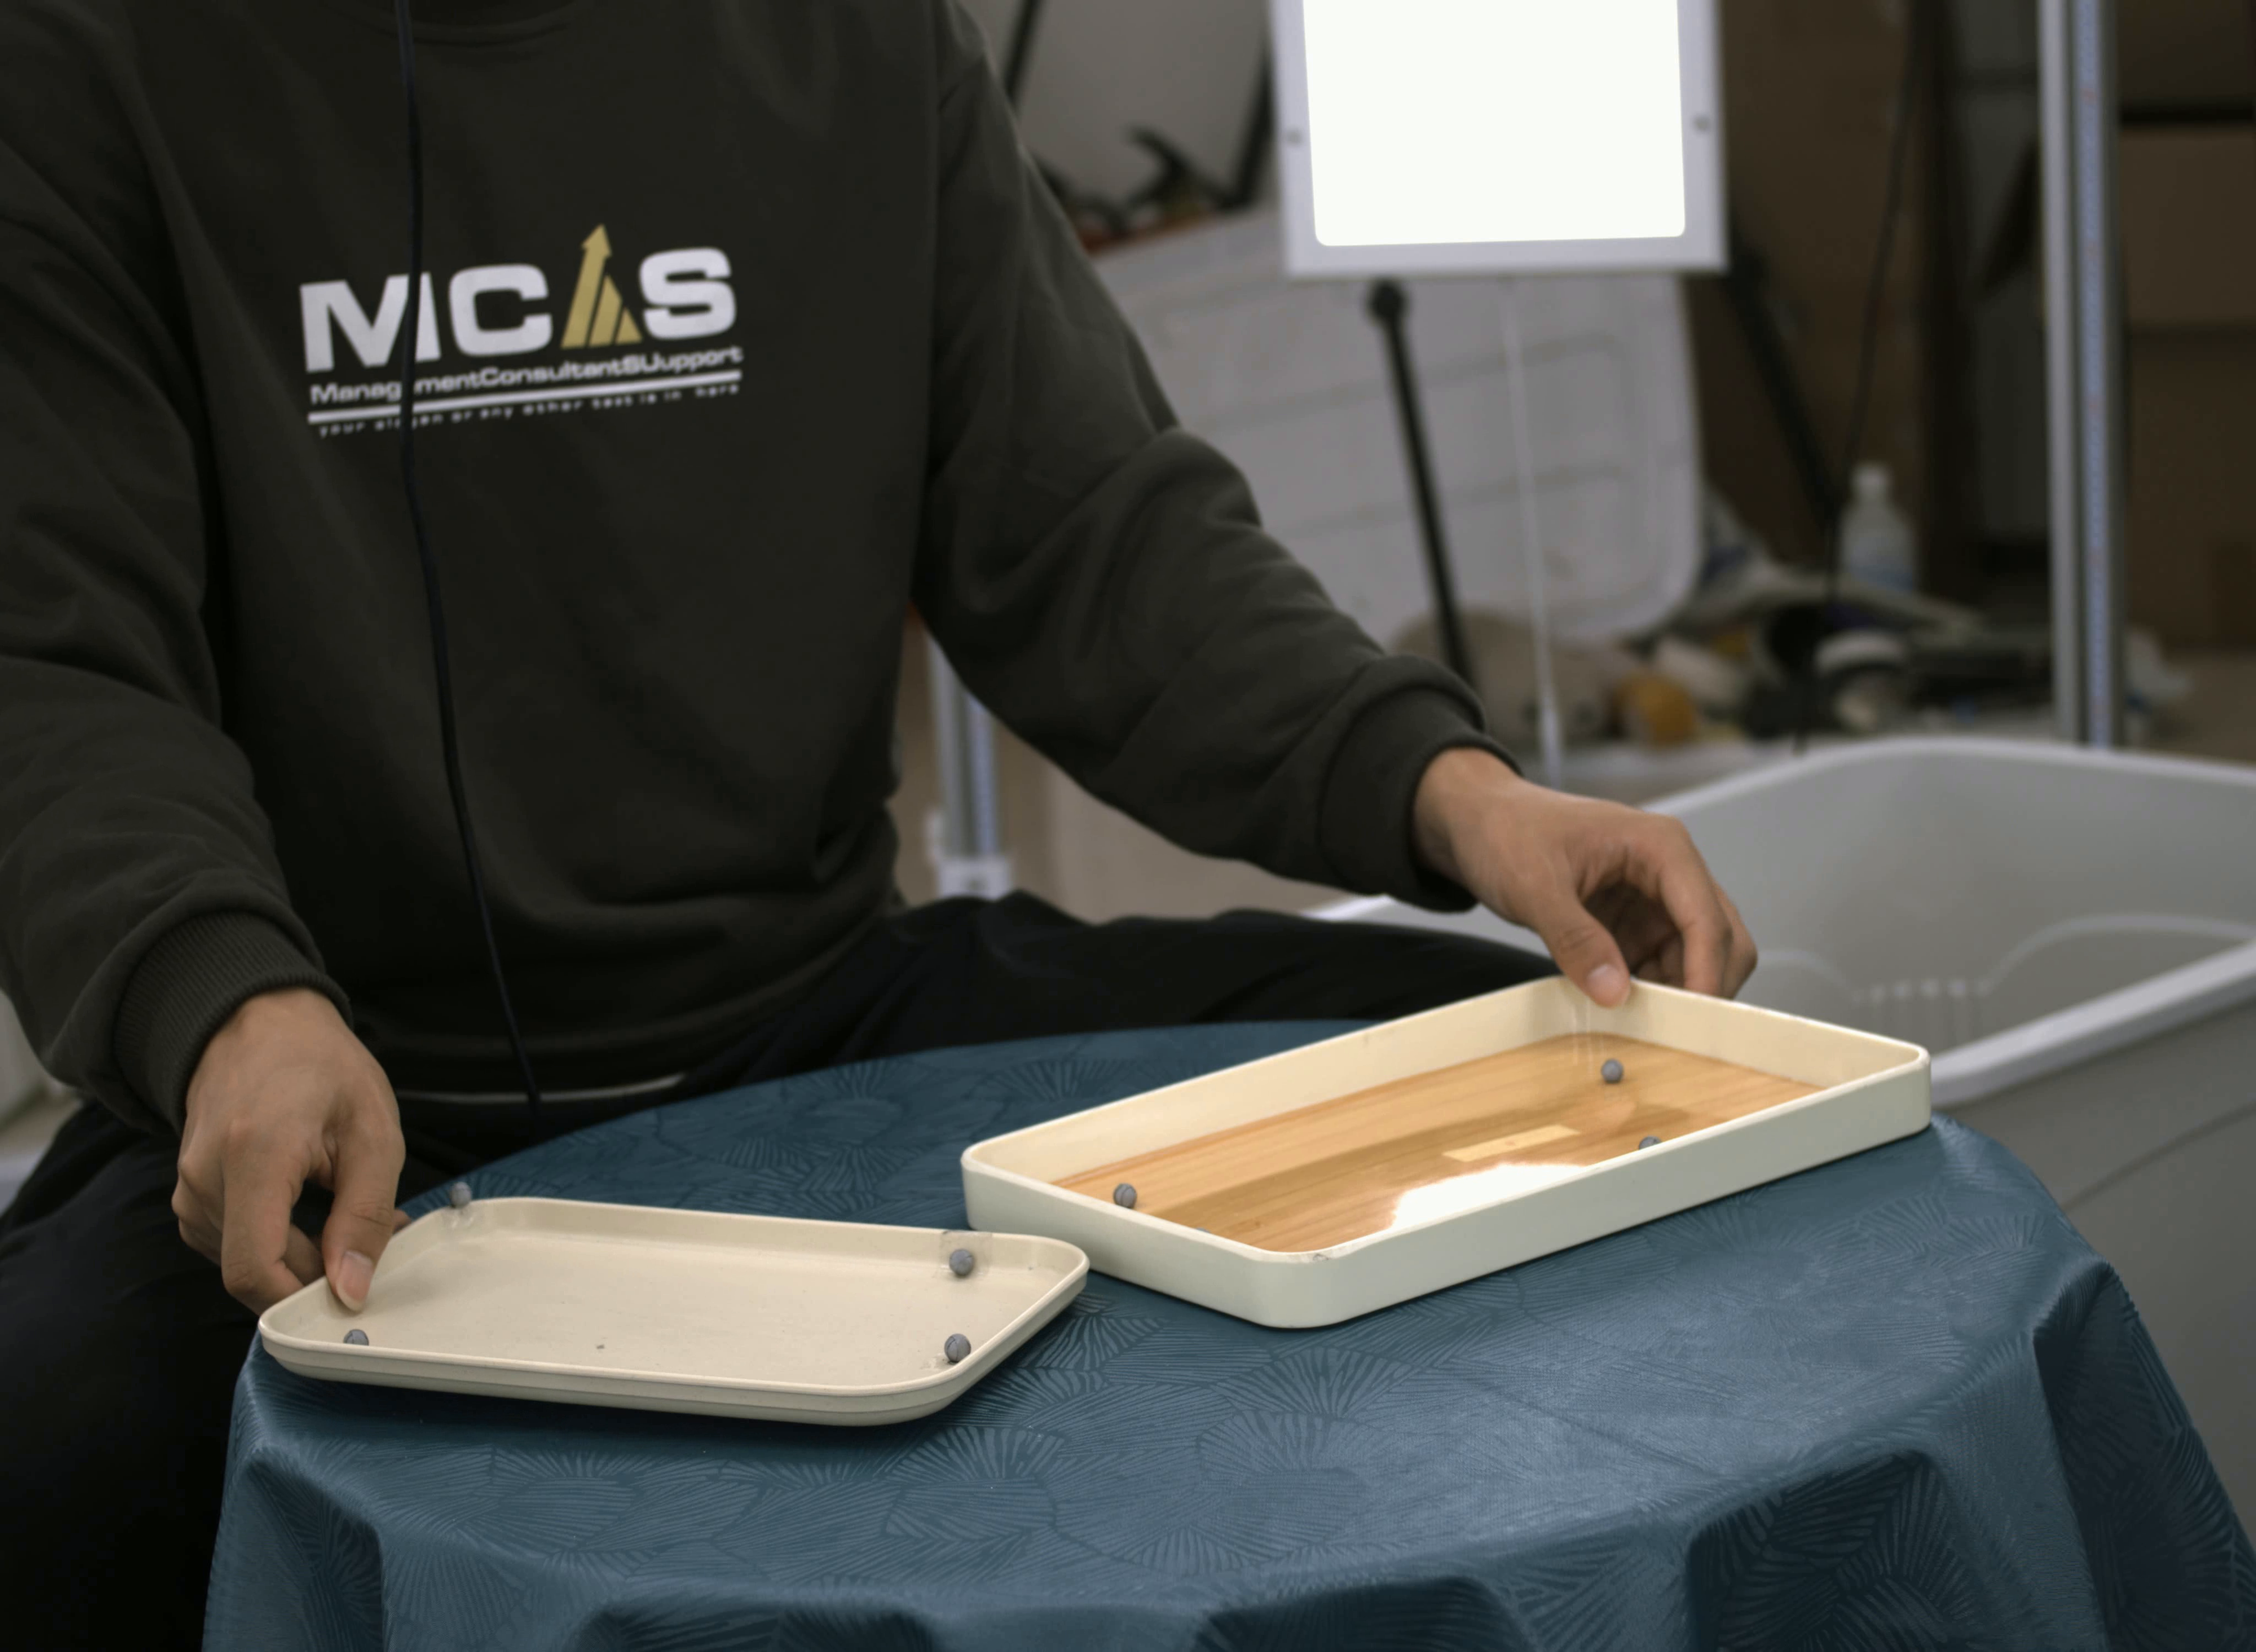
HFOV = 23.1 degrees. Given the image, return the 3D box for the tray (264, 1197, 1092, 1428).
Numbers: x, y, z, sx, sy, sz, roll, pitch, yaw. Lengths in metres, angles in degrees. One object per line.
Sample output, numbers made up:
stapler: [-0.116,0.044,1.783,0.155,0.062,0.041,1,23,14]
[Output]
tray: [-0.143,0.156,1.772,0.243,0.017,0.168,2,14,22]

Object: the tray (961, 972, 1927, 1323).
tray: [0.111,0.106,1.887,0.293,0.027,0.195,-14,16,-34]
